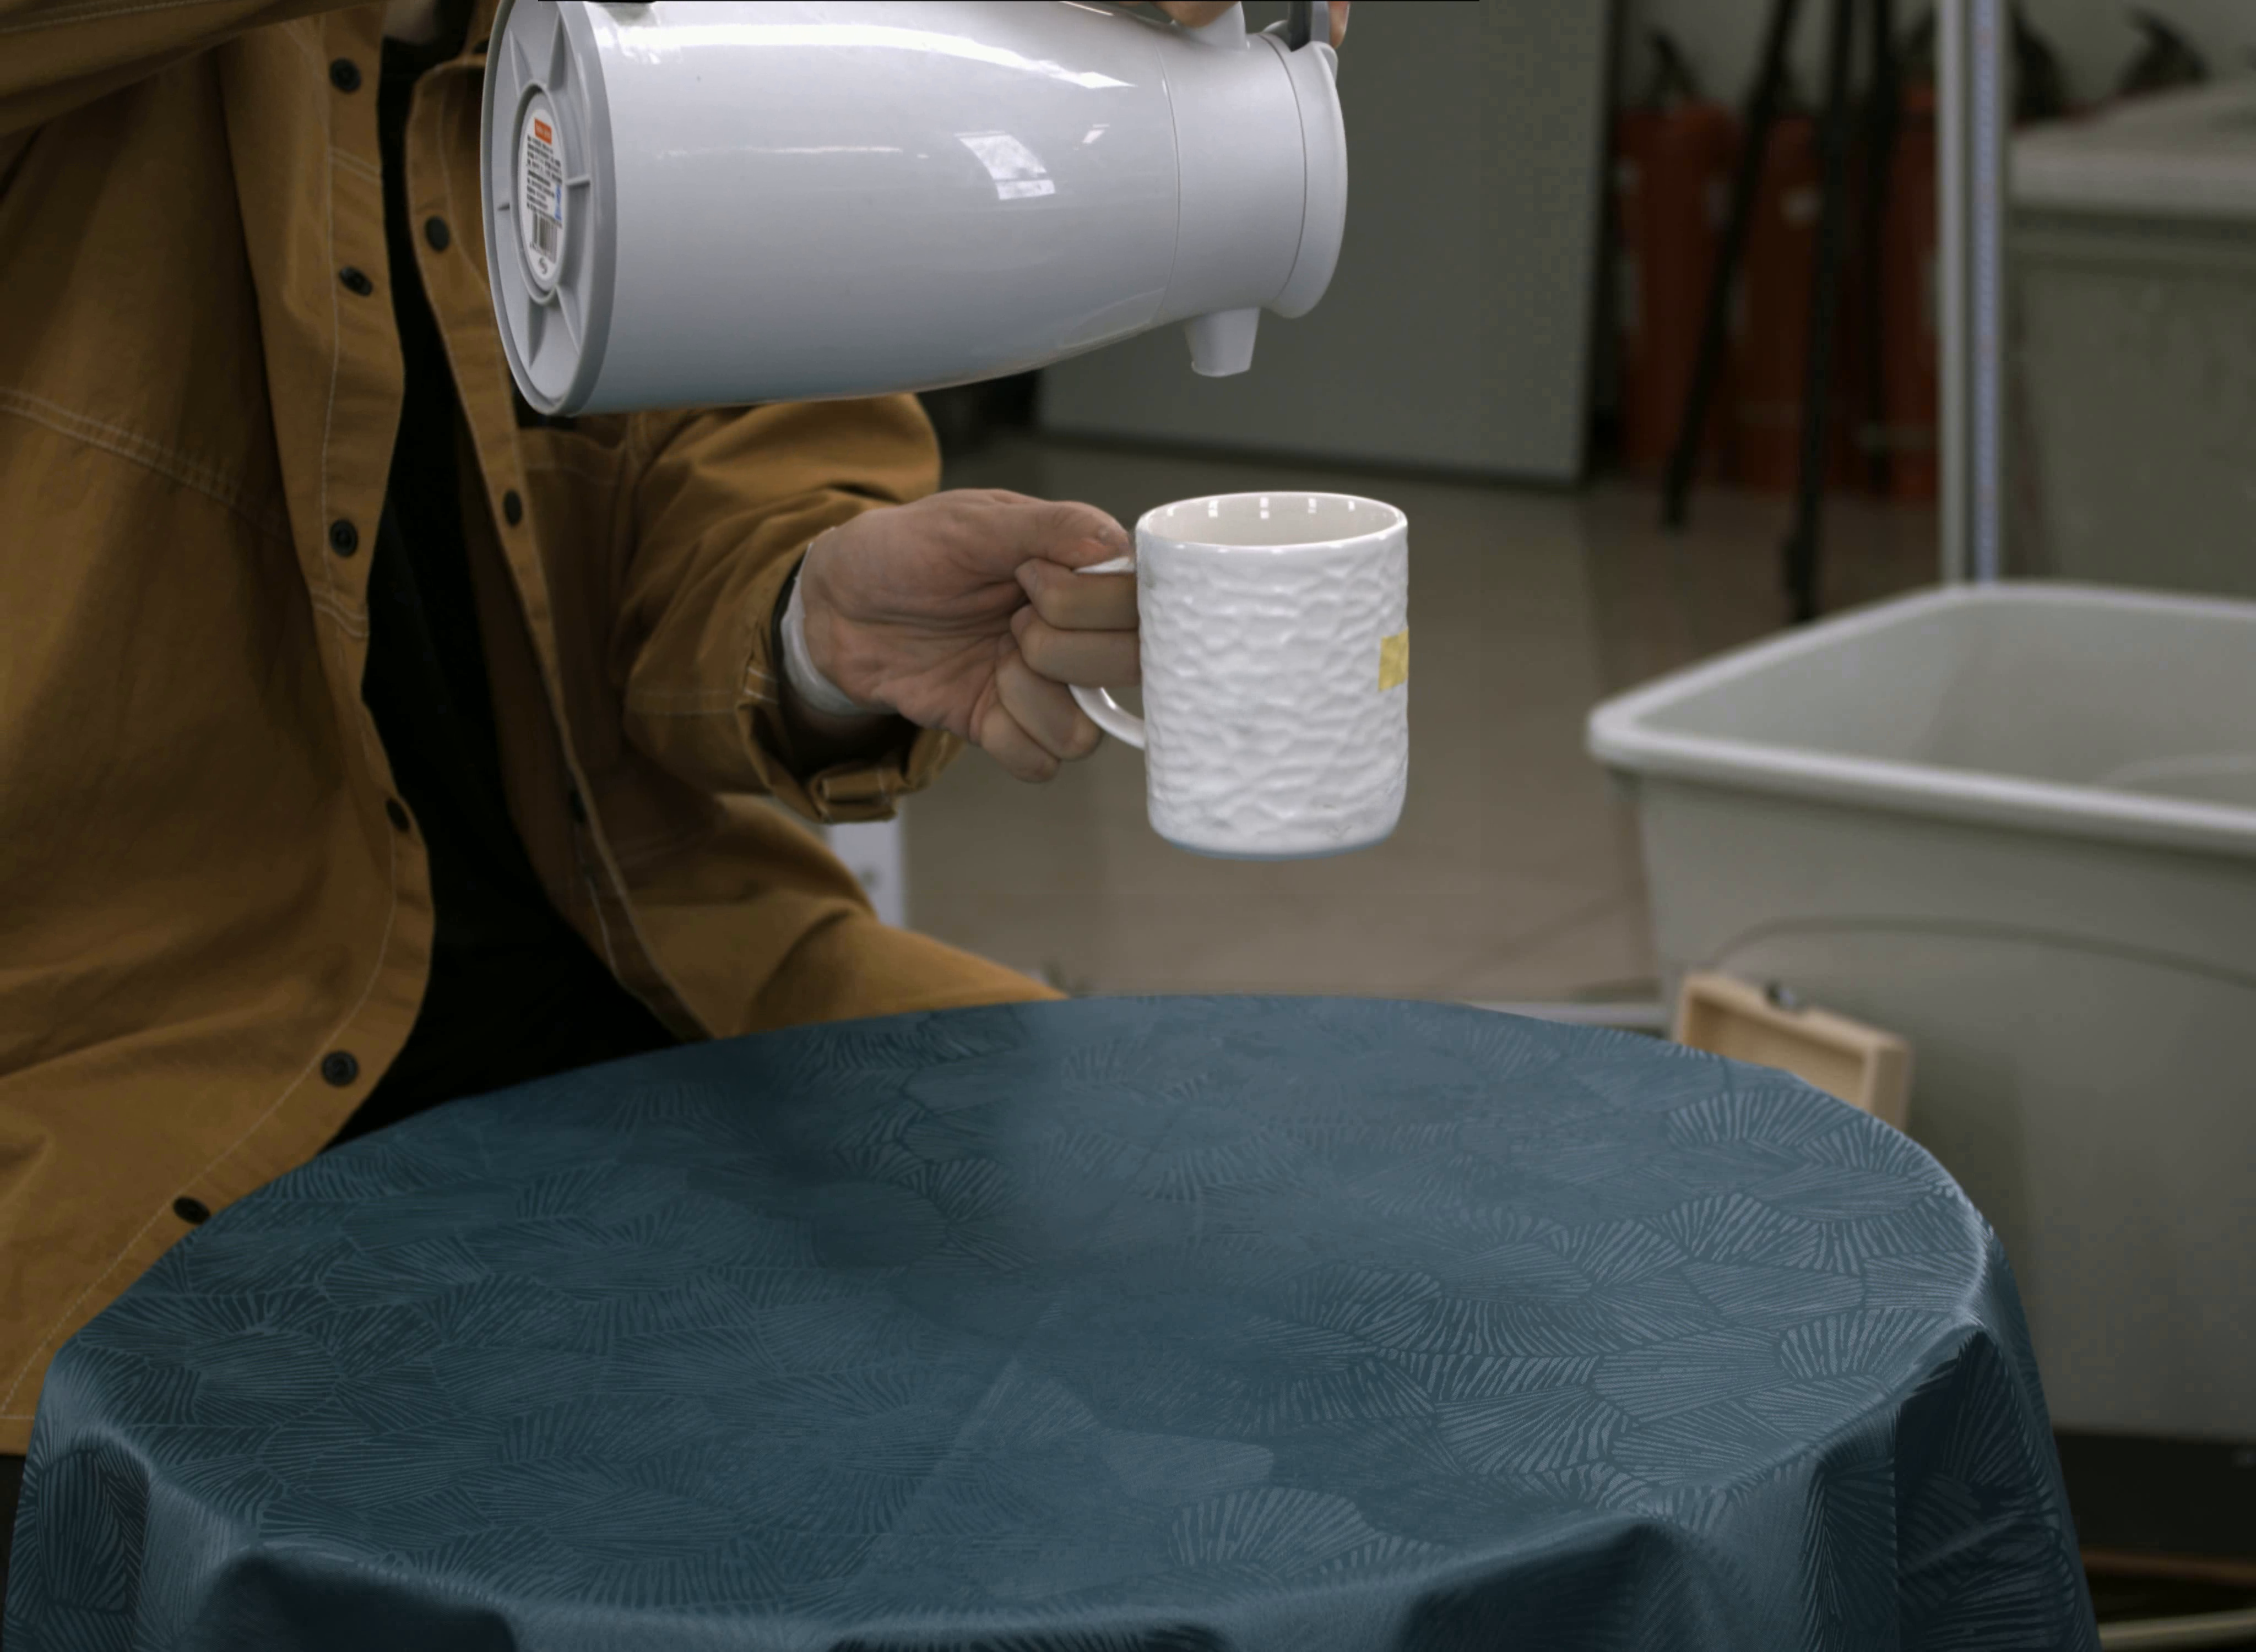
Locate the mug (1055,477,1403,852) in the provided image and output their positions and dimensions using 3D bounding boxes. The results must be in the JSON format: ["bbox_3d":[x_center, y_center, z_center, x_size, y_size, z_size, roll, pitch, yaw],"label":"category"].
[{"bbox_3d":[0.031,-0.052,1.701,0.118,0.103,0.084,6,16,28],"label":"mug"}]

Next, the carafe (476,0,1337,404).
[{"bbox_3d":[-0.059,-0.216,1.610,0.243,0.169,0.134,-4,22,-18],"label":"carafe"}]
